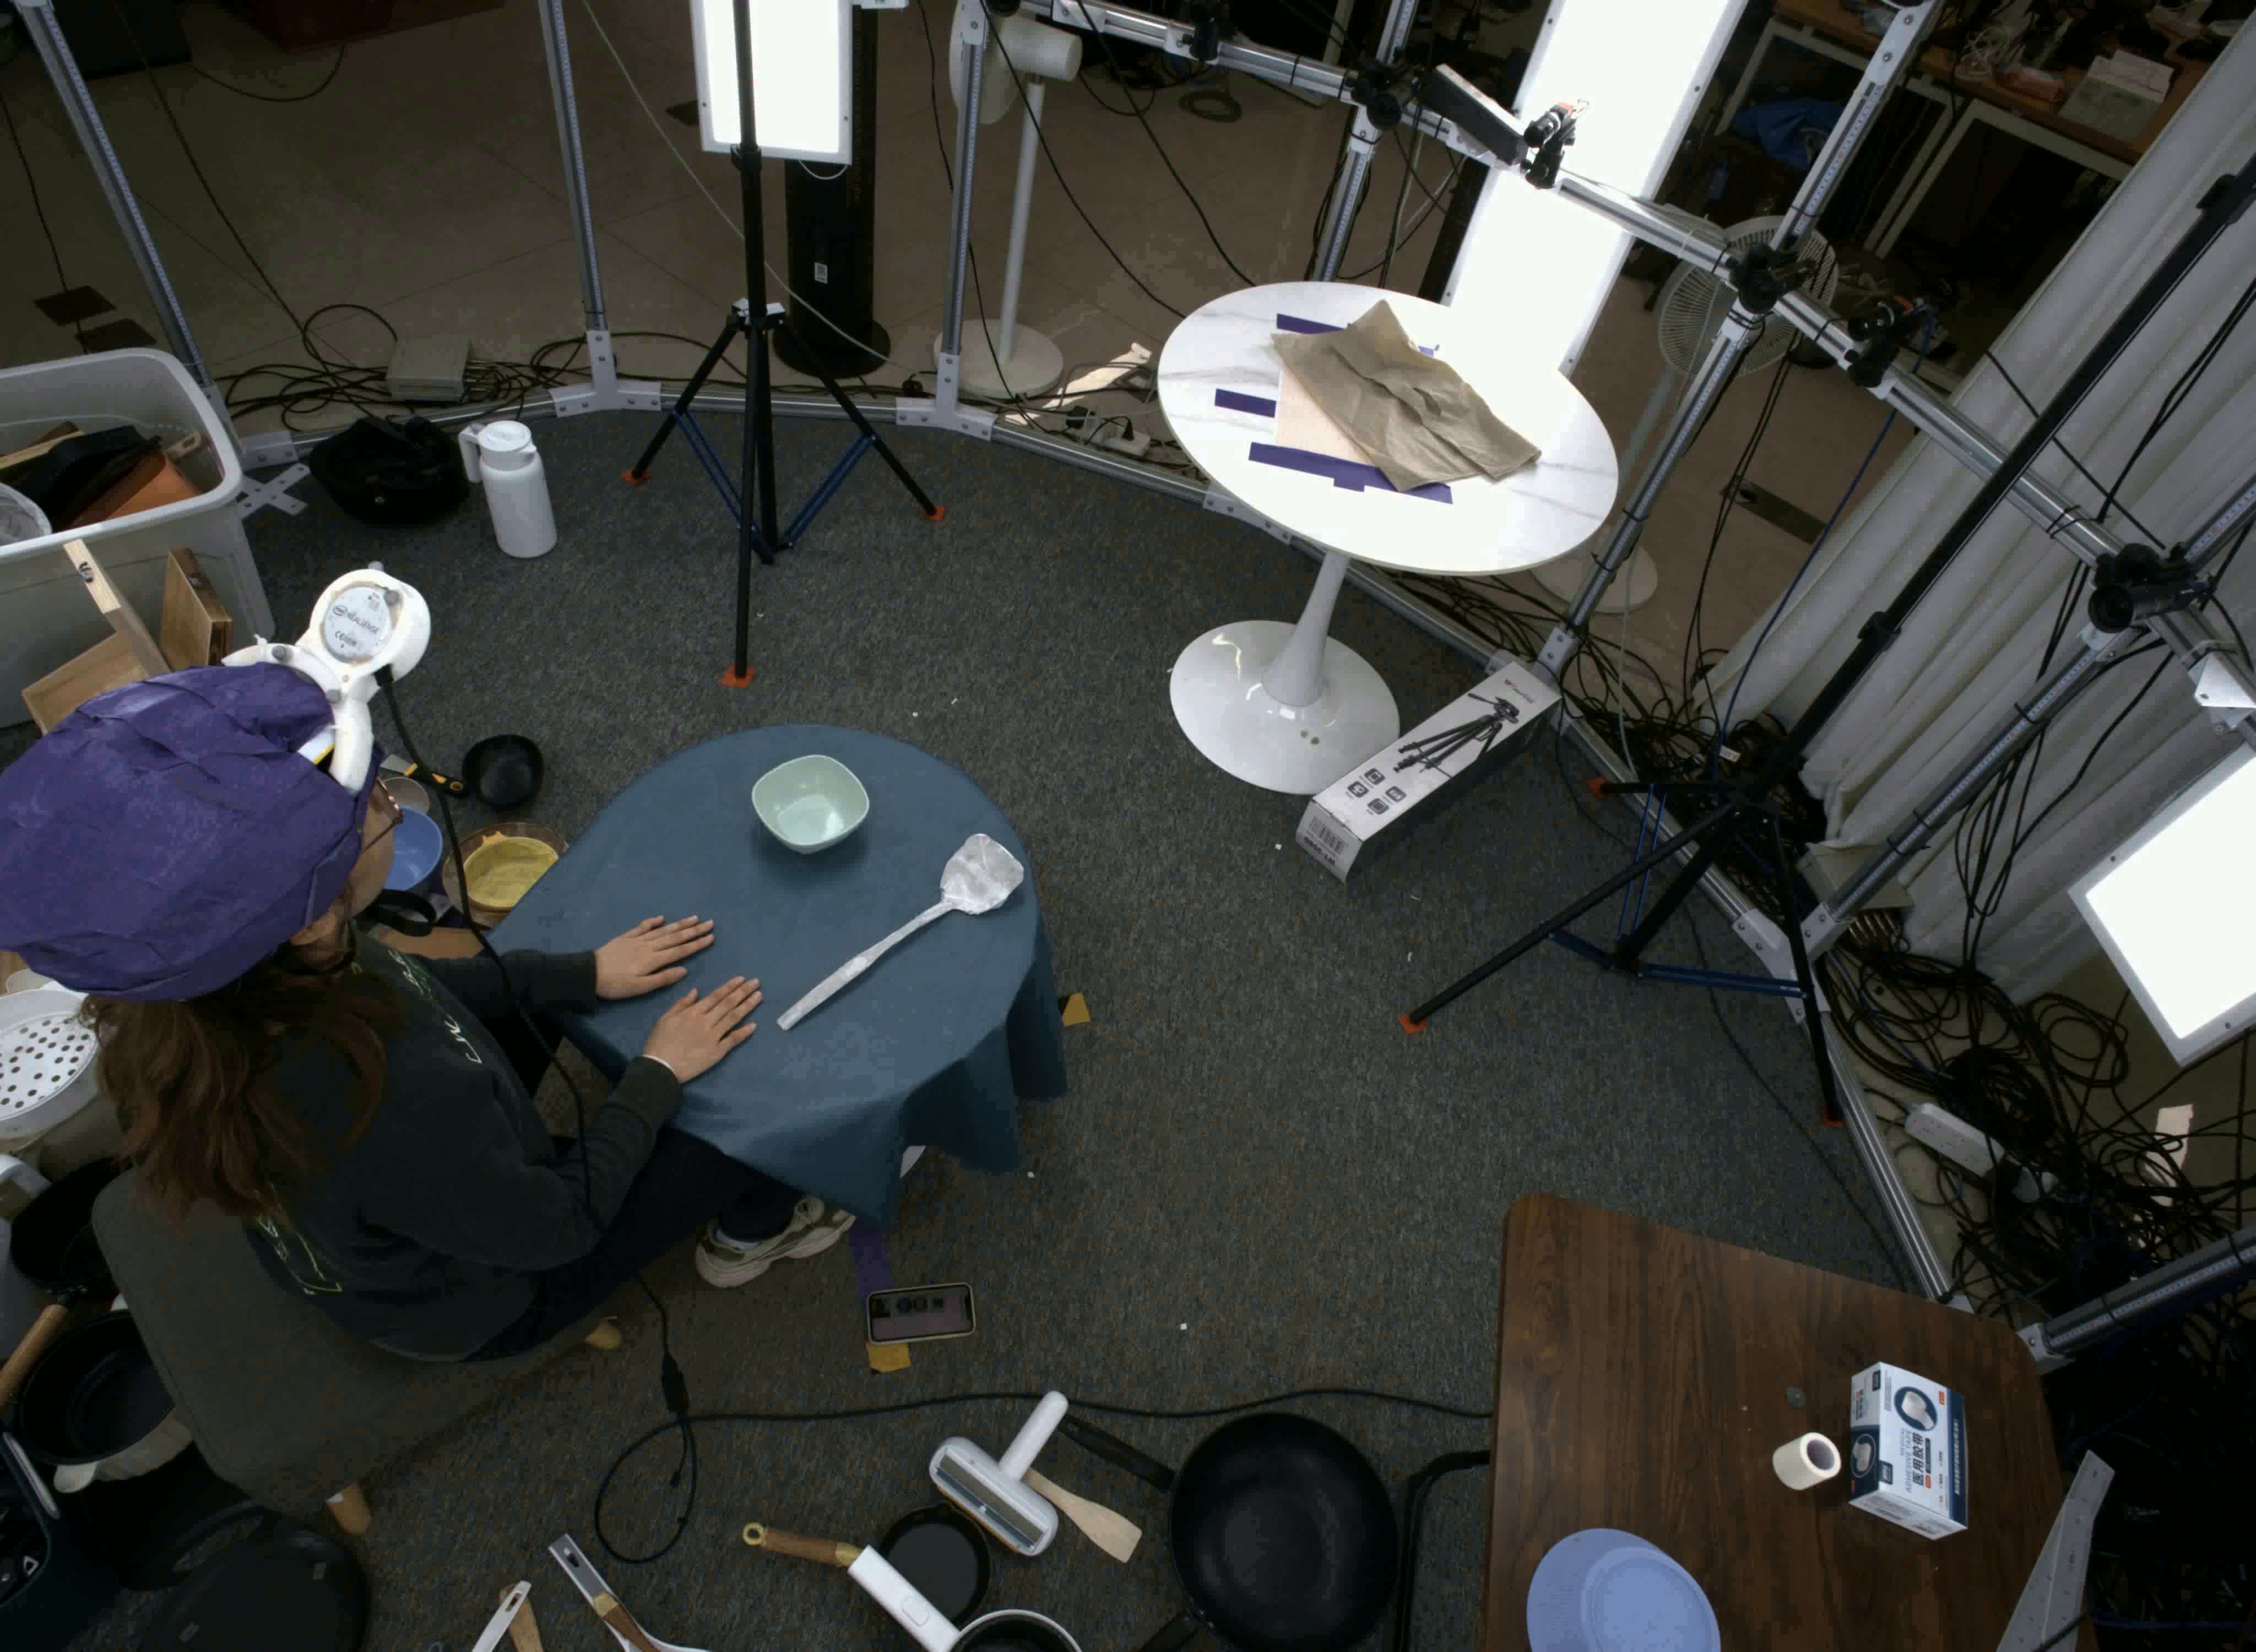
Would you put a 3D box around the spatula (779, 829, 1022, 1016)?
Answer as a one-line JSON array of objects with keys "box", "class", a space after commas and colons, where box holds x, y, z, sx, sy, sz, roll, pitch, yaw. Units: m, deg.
[{"box": [-0.288, 0.128, 1.644, 0.097, 0.045, 0.366, 43, 55, 16], "class": "spatula"}]

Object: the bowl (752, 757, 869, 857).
[{"box": [-0.418, -0.017, 1.709, 0.151, 0.060, 0.149, 7, 51, -7], "class": "bowl"}]
